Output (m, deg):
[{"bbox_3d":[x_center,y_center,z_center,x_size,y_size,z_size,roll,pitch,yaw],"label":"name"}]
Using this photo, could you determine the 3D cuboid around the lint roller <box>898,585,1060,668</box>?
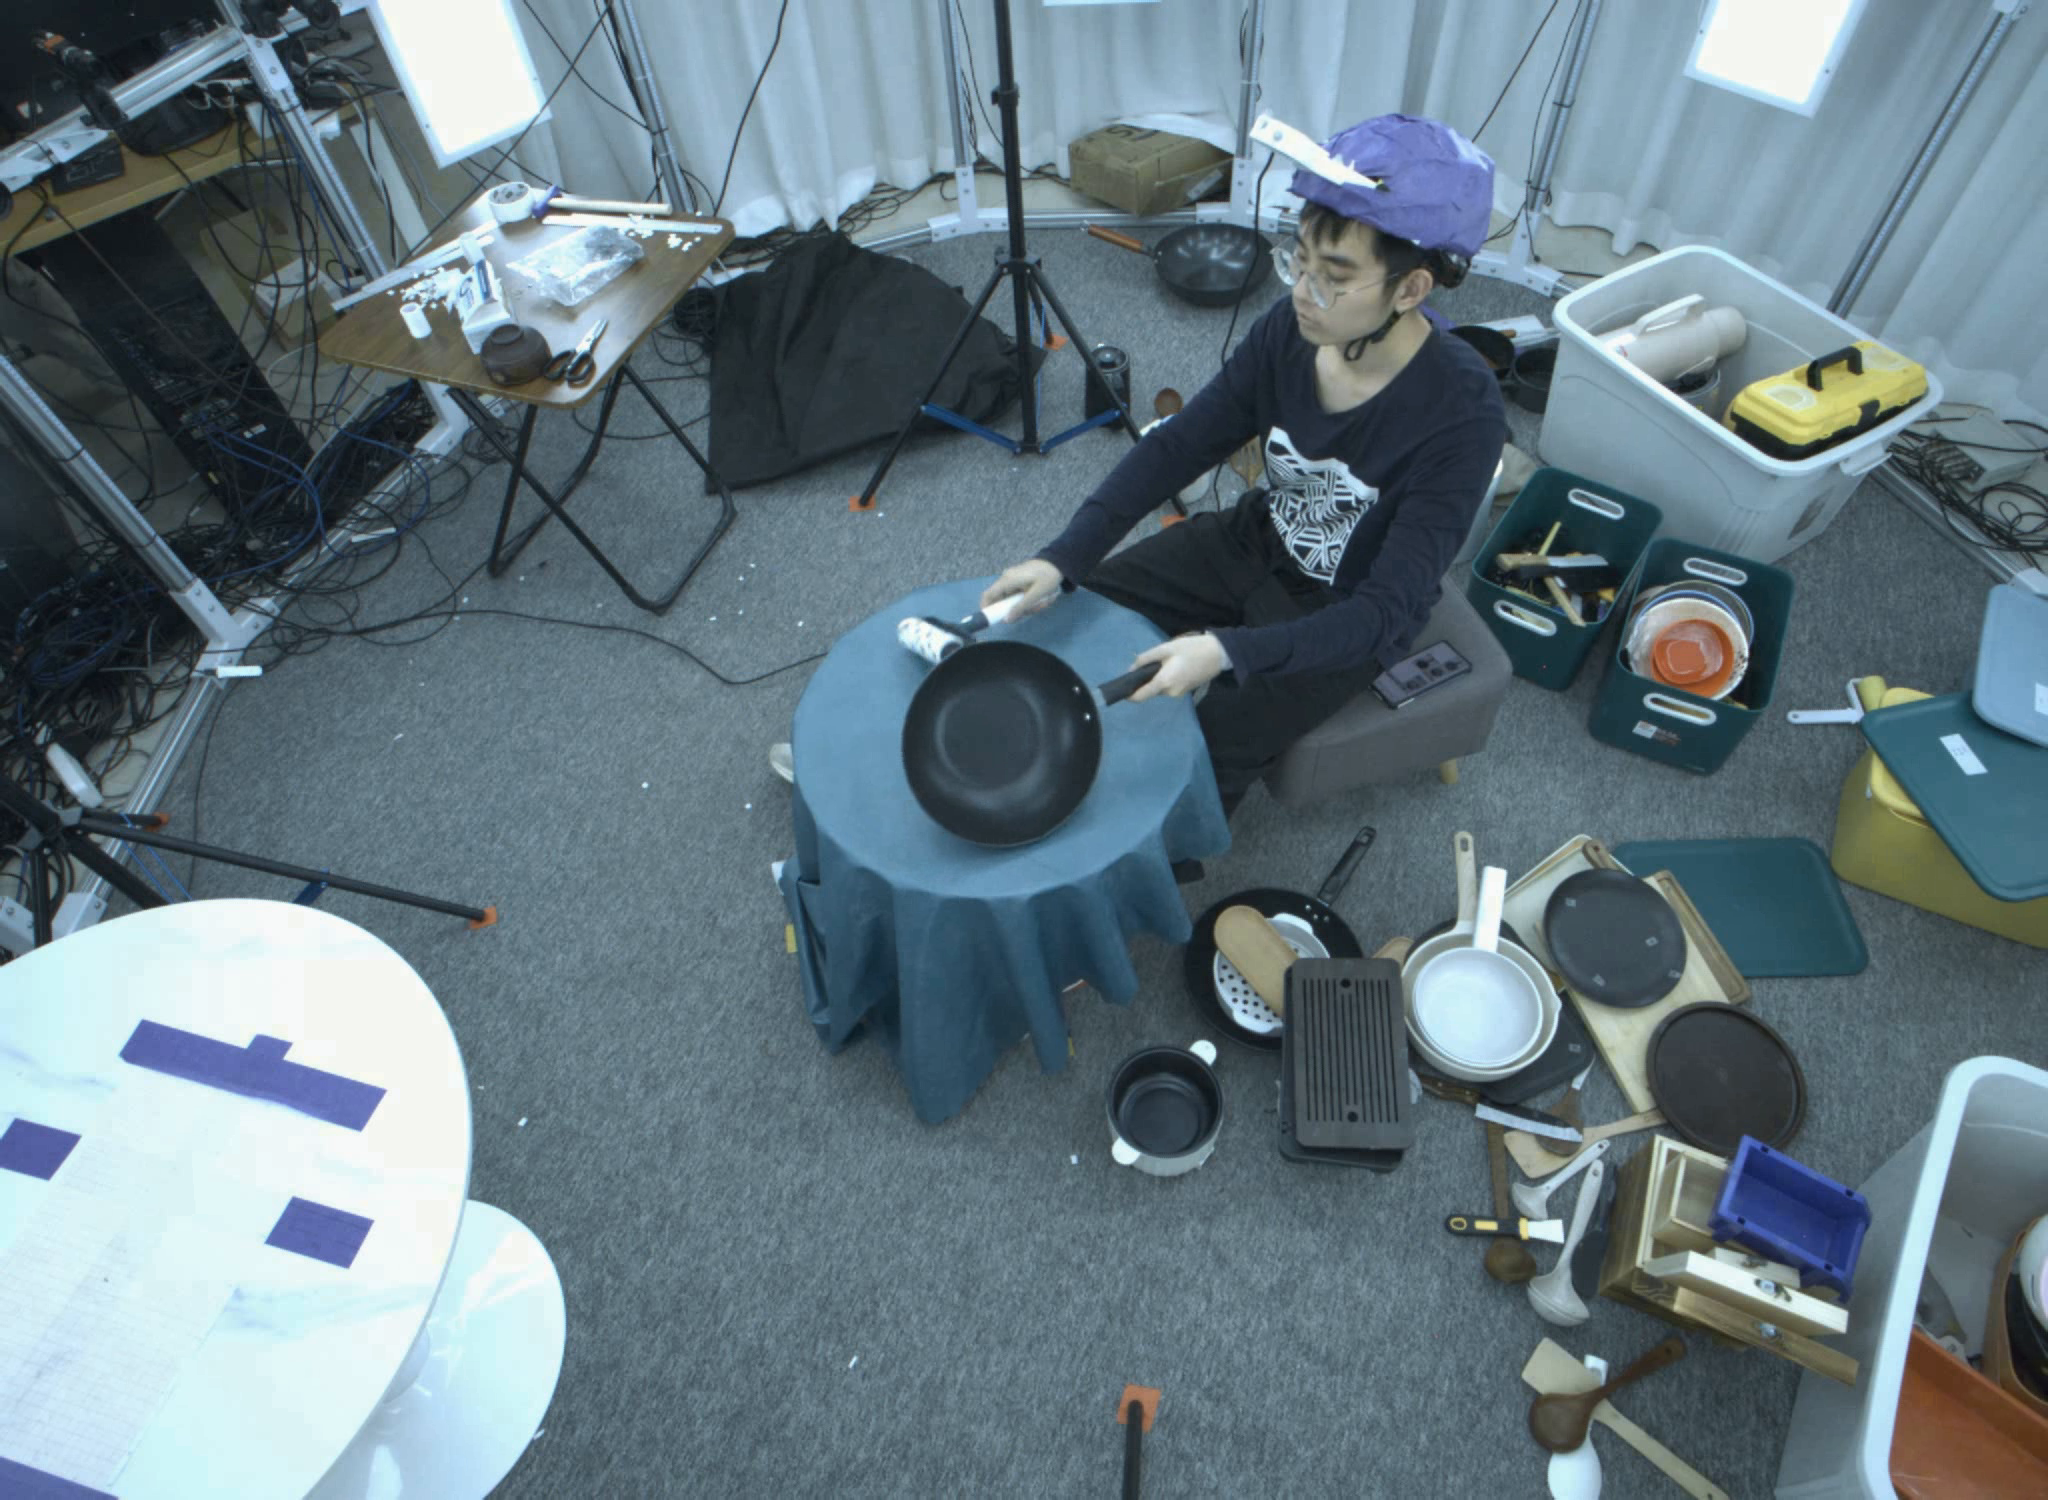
[{"bbox_3d":[-0.055,-0.203,1.867,0.249,0.051,0.172,-28,32,-20],"label":"lint roller"}]

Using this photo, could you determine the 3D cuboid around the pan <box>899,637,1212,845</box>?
[{"bbox_3d":[0.042,-0.053,1.703,0.466,0.291,0.085,-25,16,-13],"label":"pan"}]
